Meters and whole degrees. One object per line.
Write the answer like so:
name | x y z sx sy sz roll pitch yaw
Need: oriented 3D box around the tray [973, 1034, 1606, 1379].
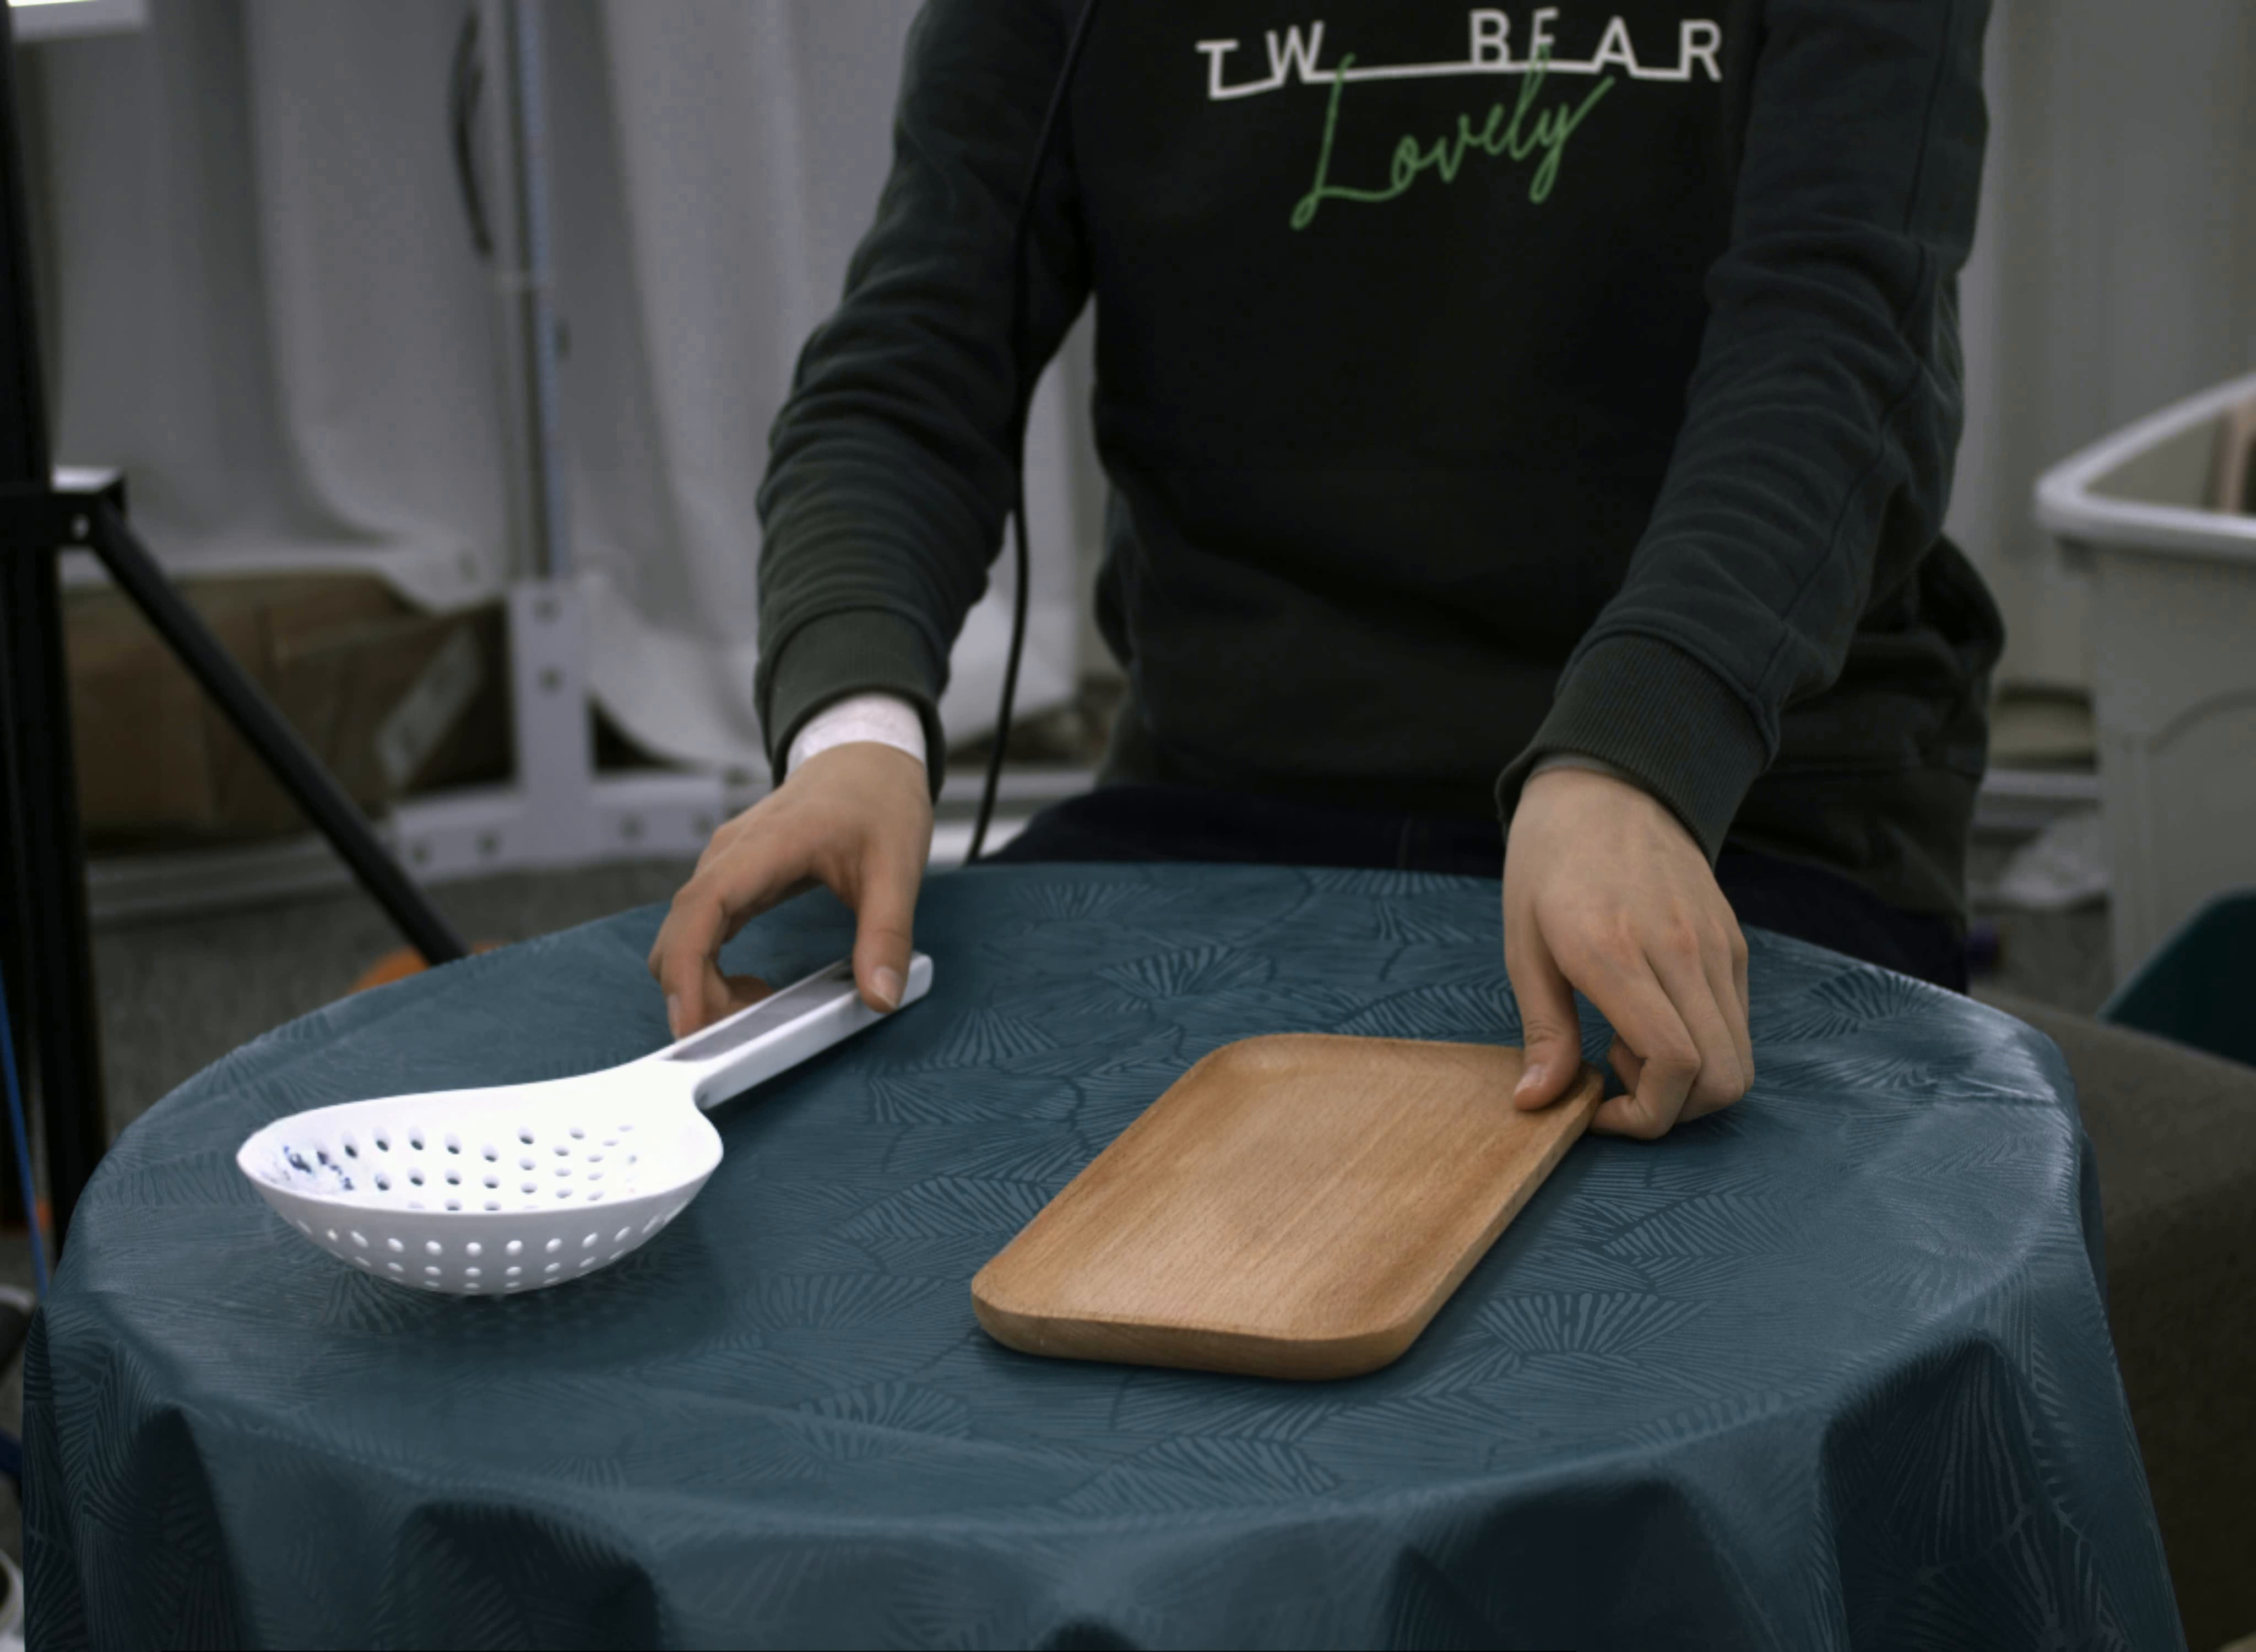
tray | 0.051 0.106 1.524 0.132 0.023 0.247 5 17 20

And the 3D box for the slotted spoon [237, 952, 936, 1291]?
slotted spoon | -0.141 0.079 1.600 0.138 0.046 0.345 6 17 22
